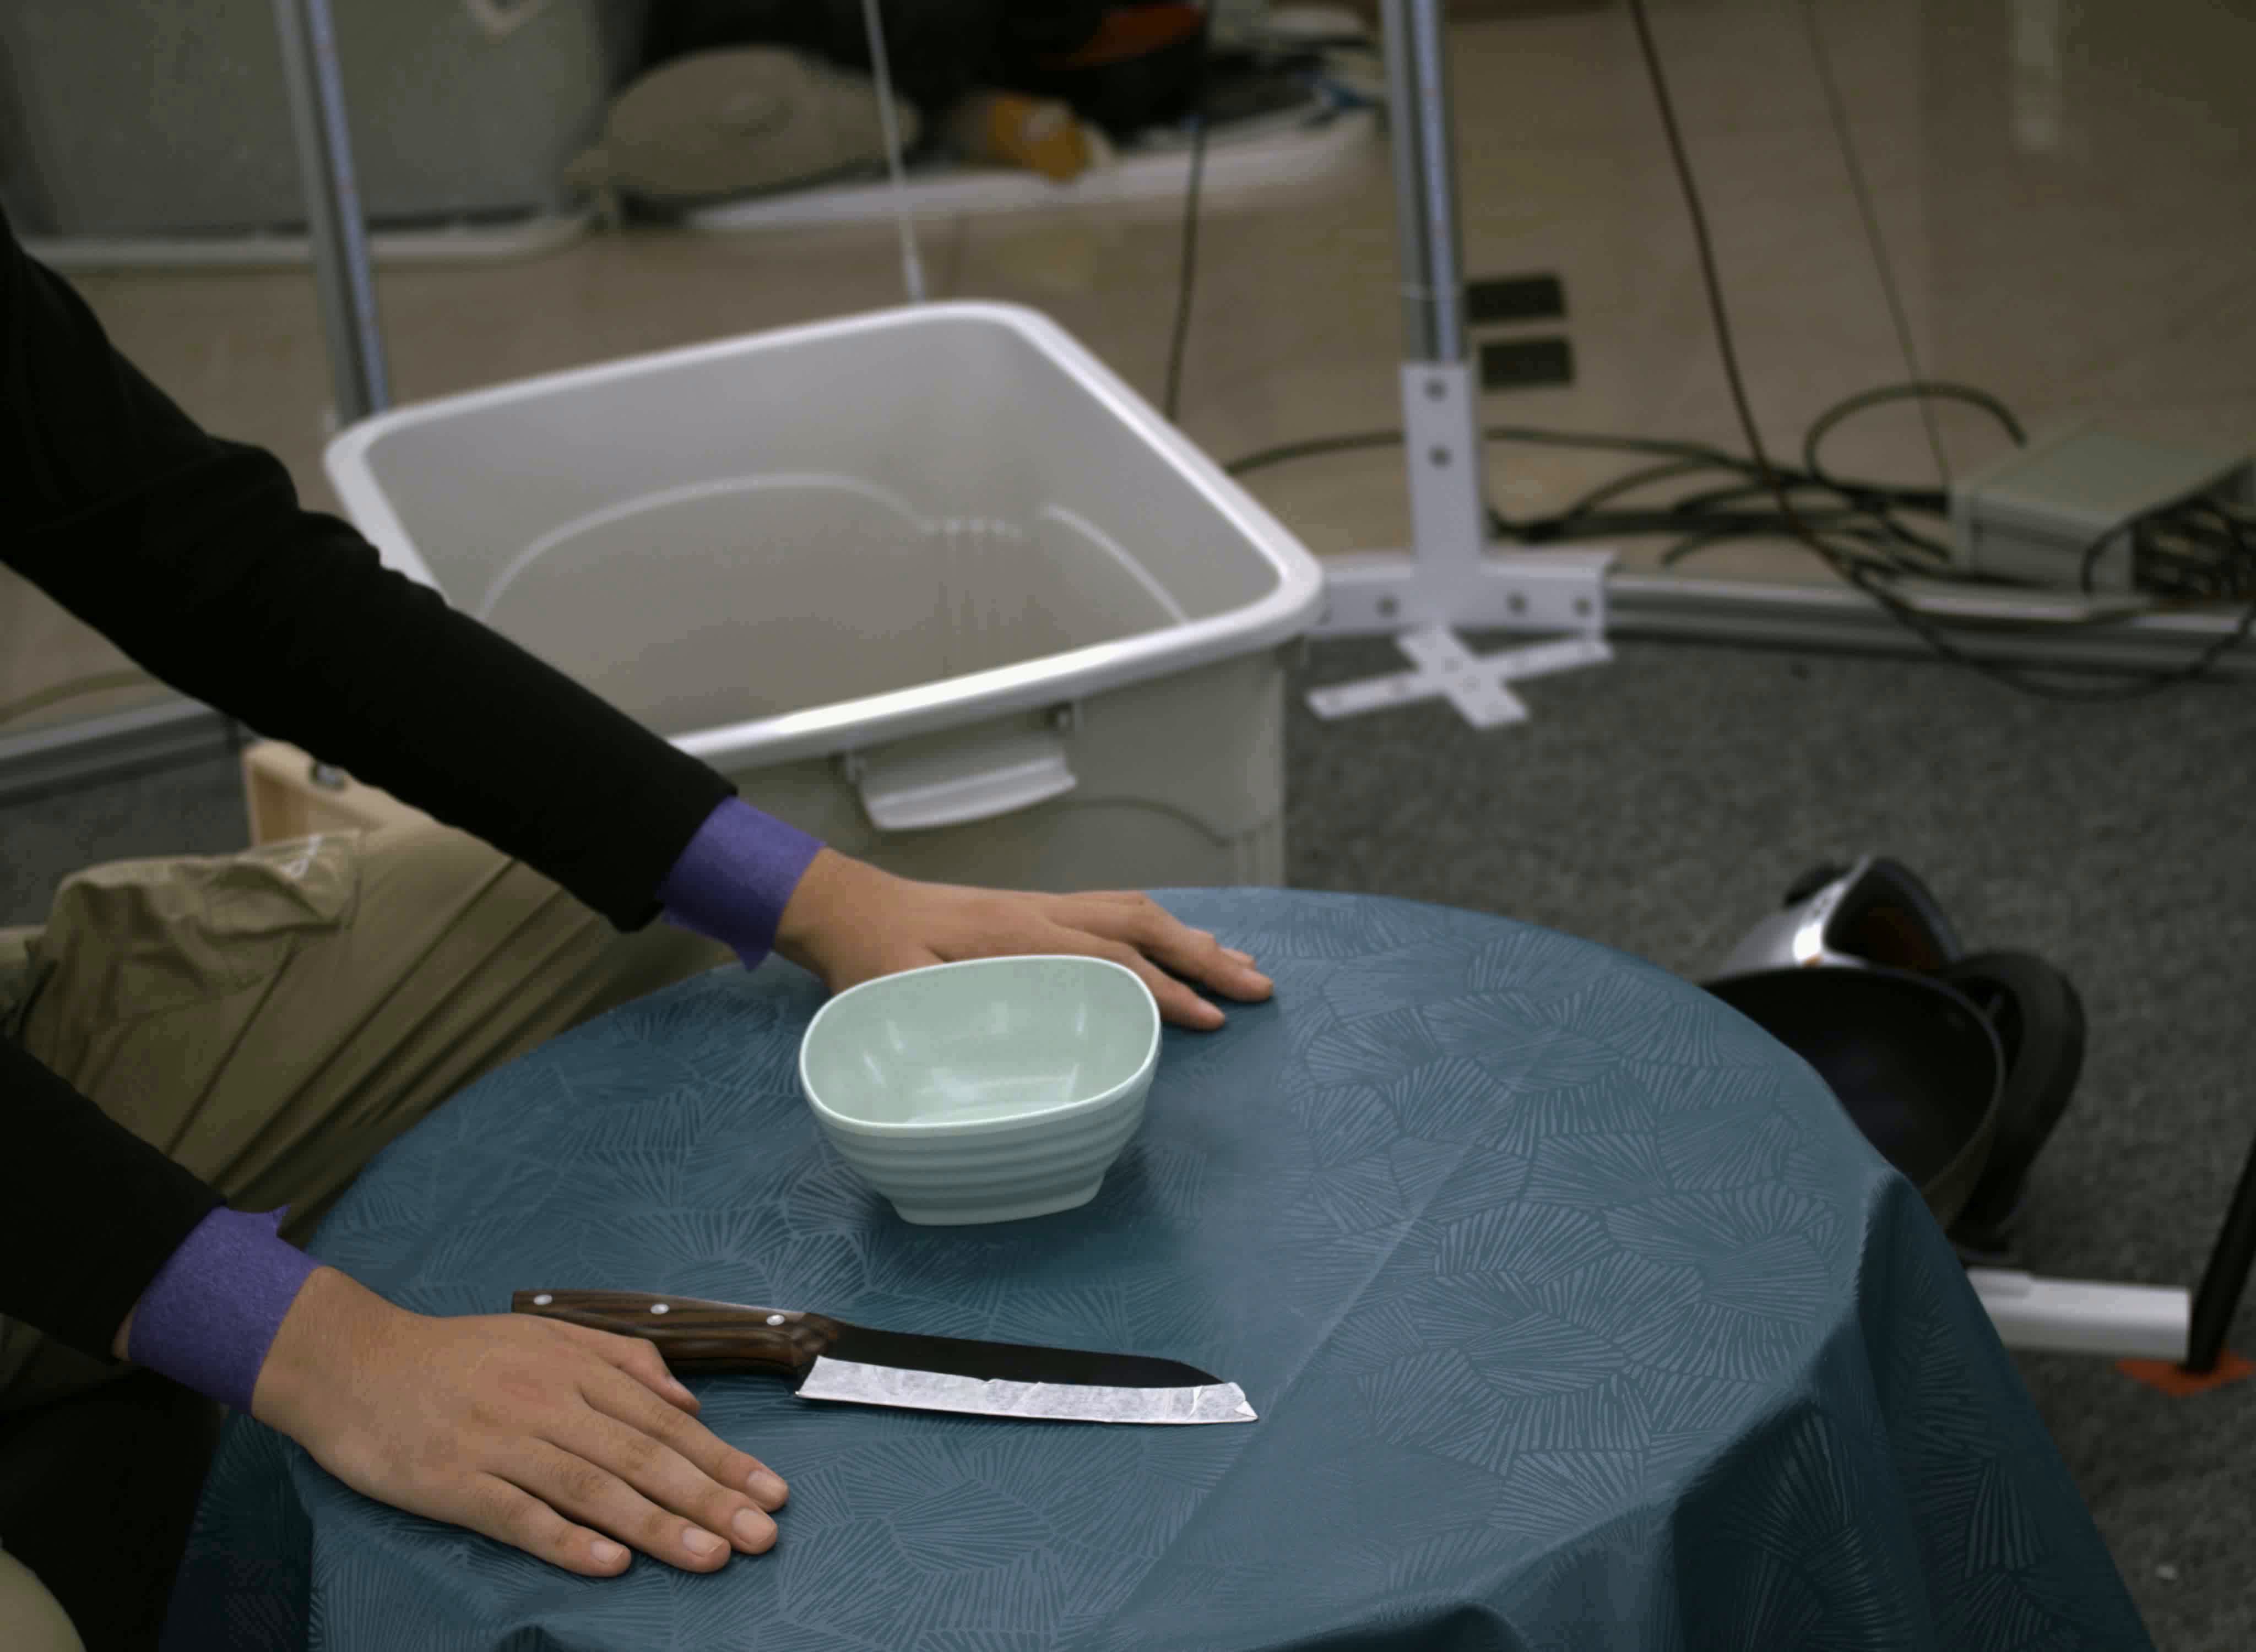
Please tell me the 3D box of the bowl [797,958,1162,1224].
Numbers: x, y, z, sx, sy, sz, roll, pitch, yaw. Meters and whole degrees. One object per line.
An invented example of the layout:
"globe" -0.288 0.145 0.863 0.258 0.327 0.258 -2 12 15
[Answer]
"bowl" -0.055 0.107 2.165 0.151 0.059 0.149 -3 25 2

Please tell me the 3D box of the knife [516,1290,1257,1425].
"knife" -0.090 0.193 2.040 0.288 0.020 0.049 5 32 18
